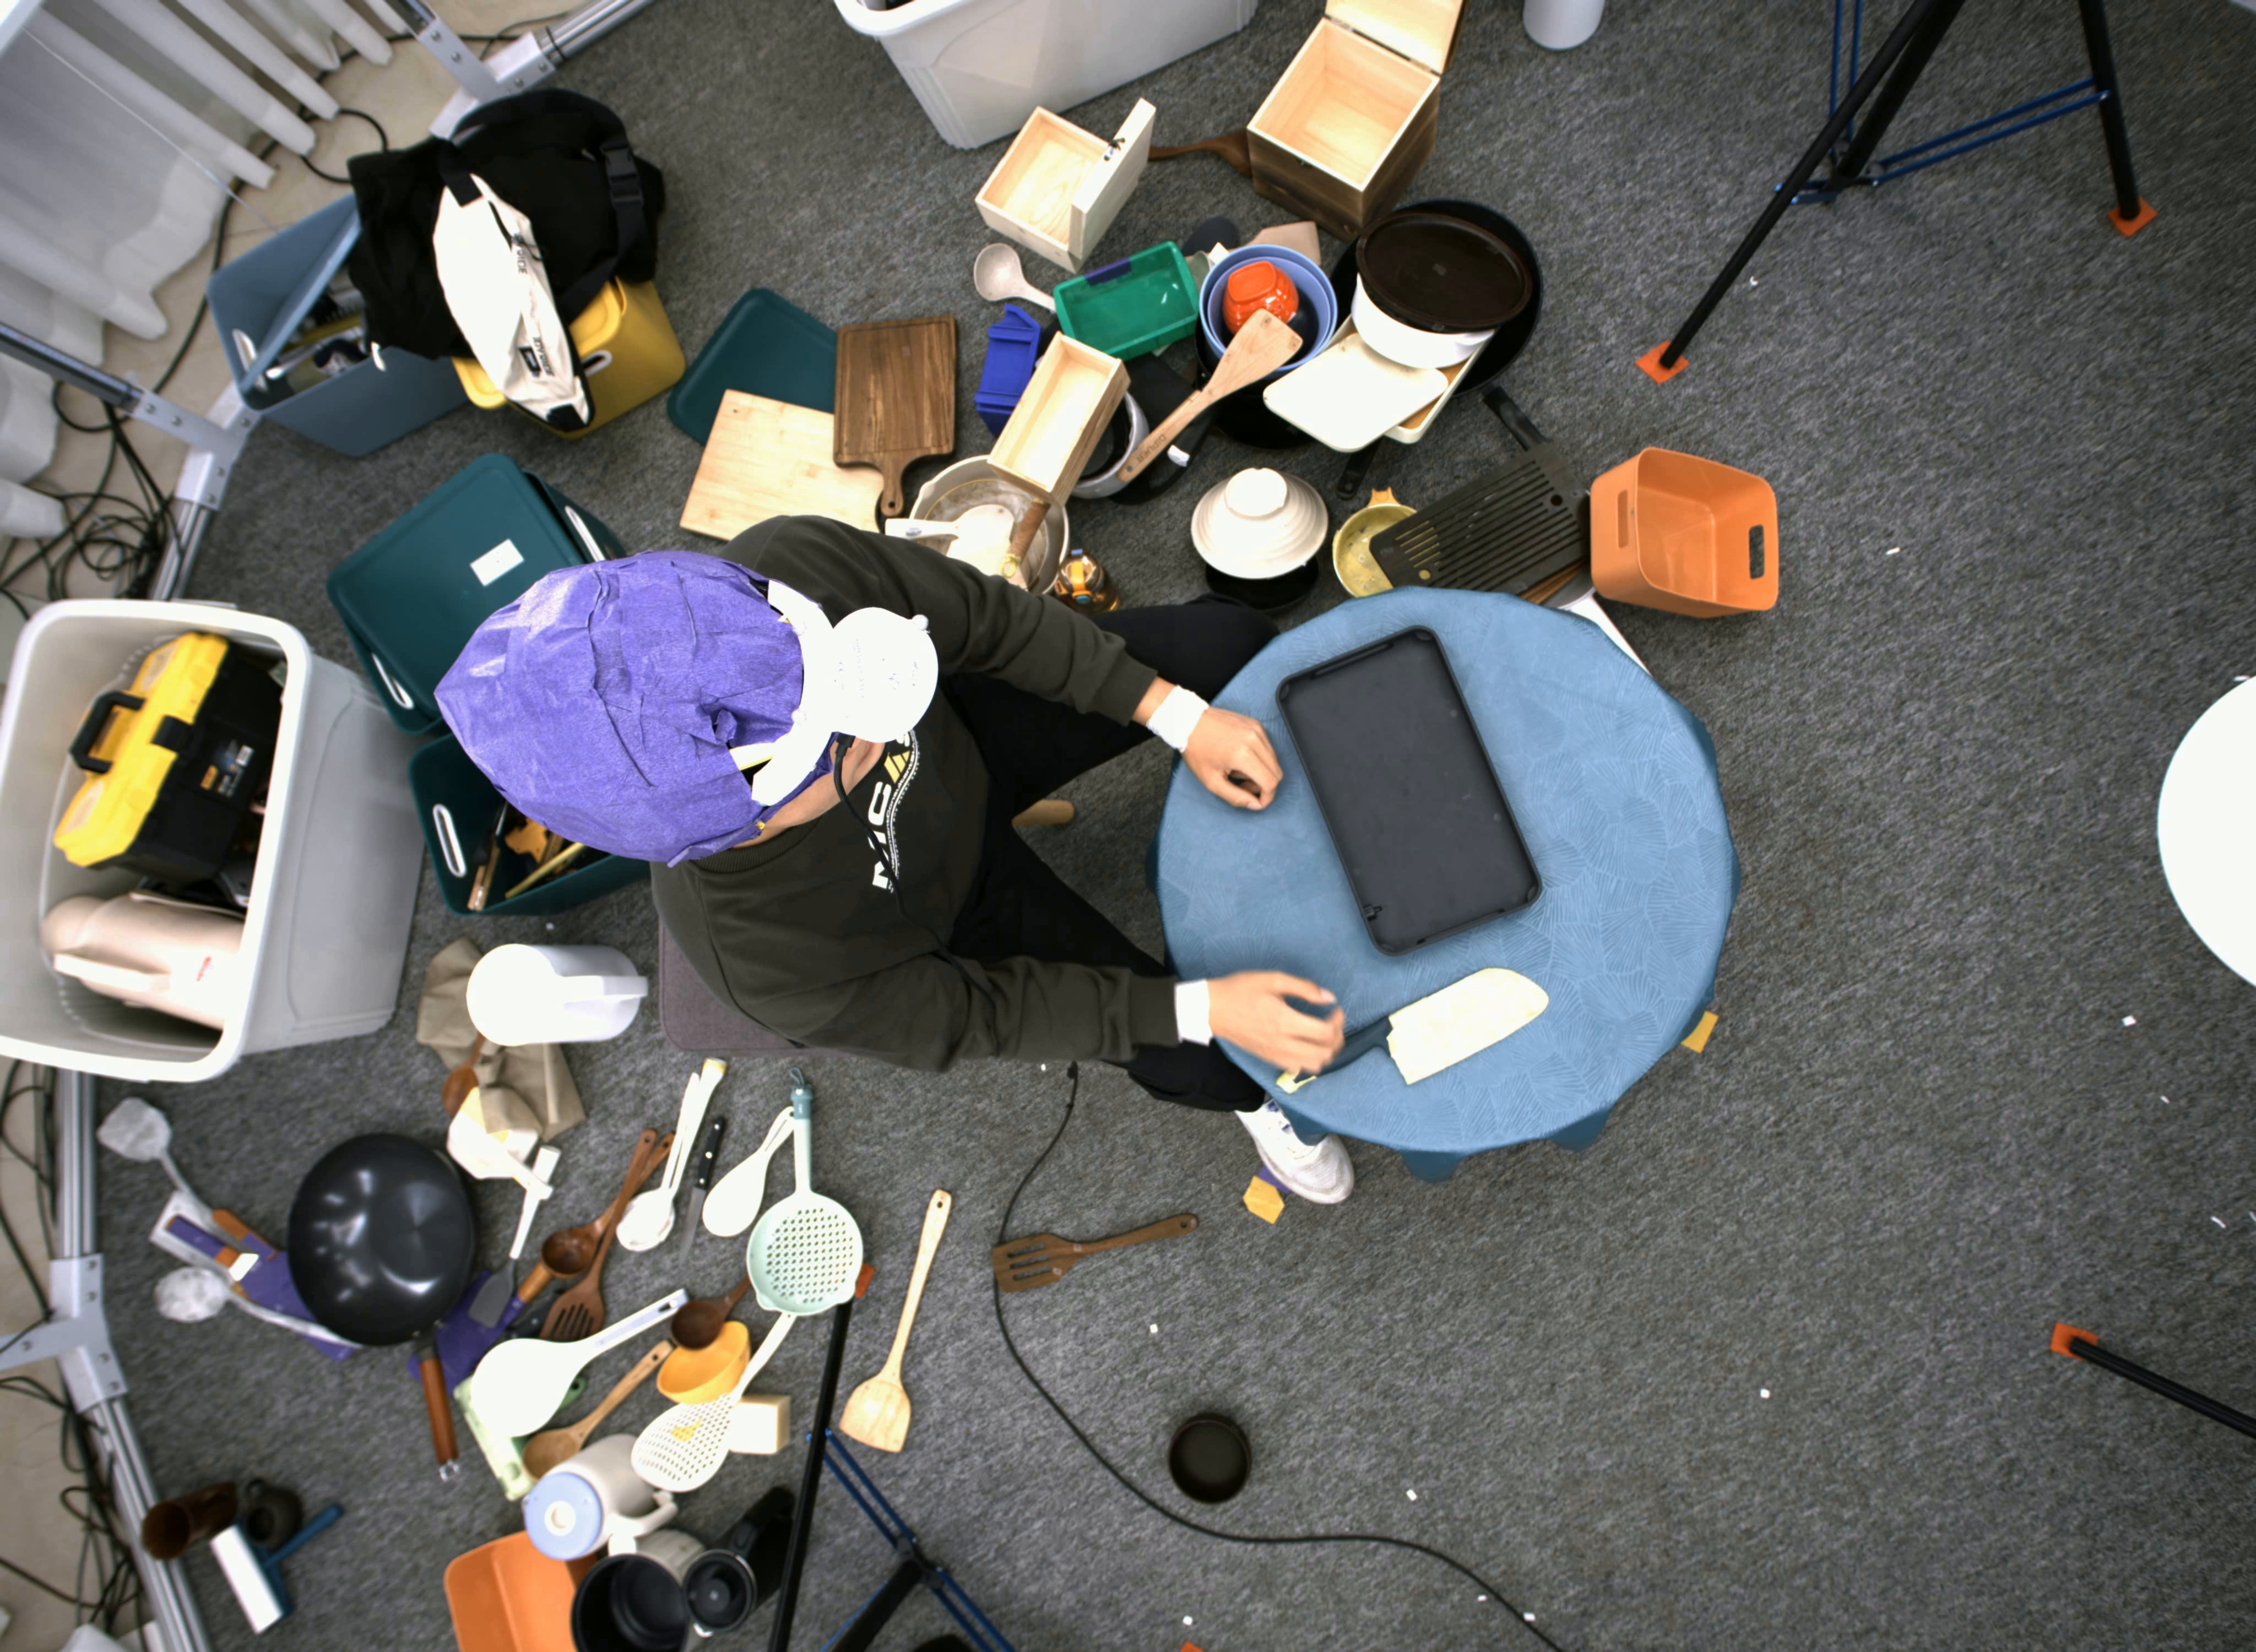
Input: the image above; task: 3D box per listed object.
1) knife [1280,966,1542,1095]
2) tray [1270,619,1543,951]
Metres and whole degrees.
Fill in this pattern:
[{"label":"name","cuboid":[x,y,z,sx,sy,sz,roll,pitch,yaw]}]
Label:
[{"label":"knife","cuboid":[0.296,0.222,1.439,0.291,0.027,0.080,-25,81,8]},{"label":"tray","cuboid":[0.290,-0.044,1.445,0.185,0.037,0.316,-24,83,9]}]
